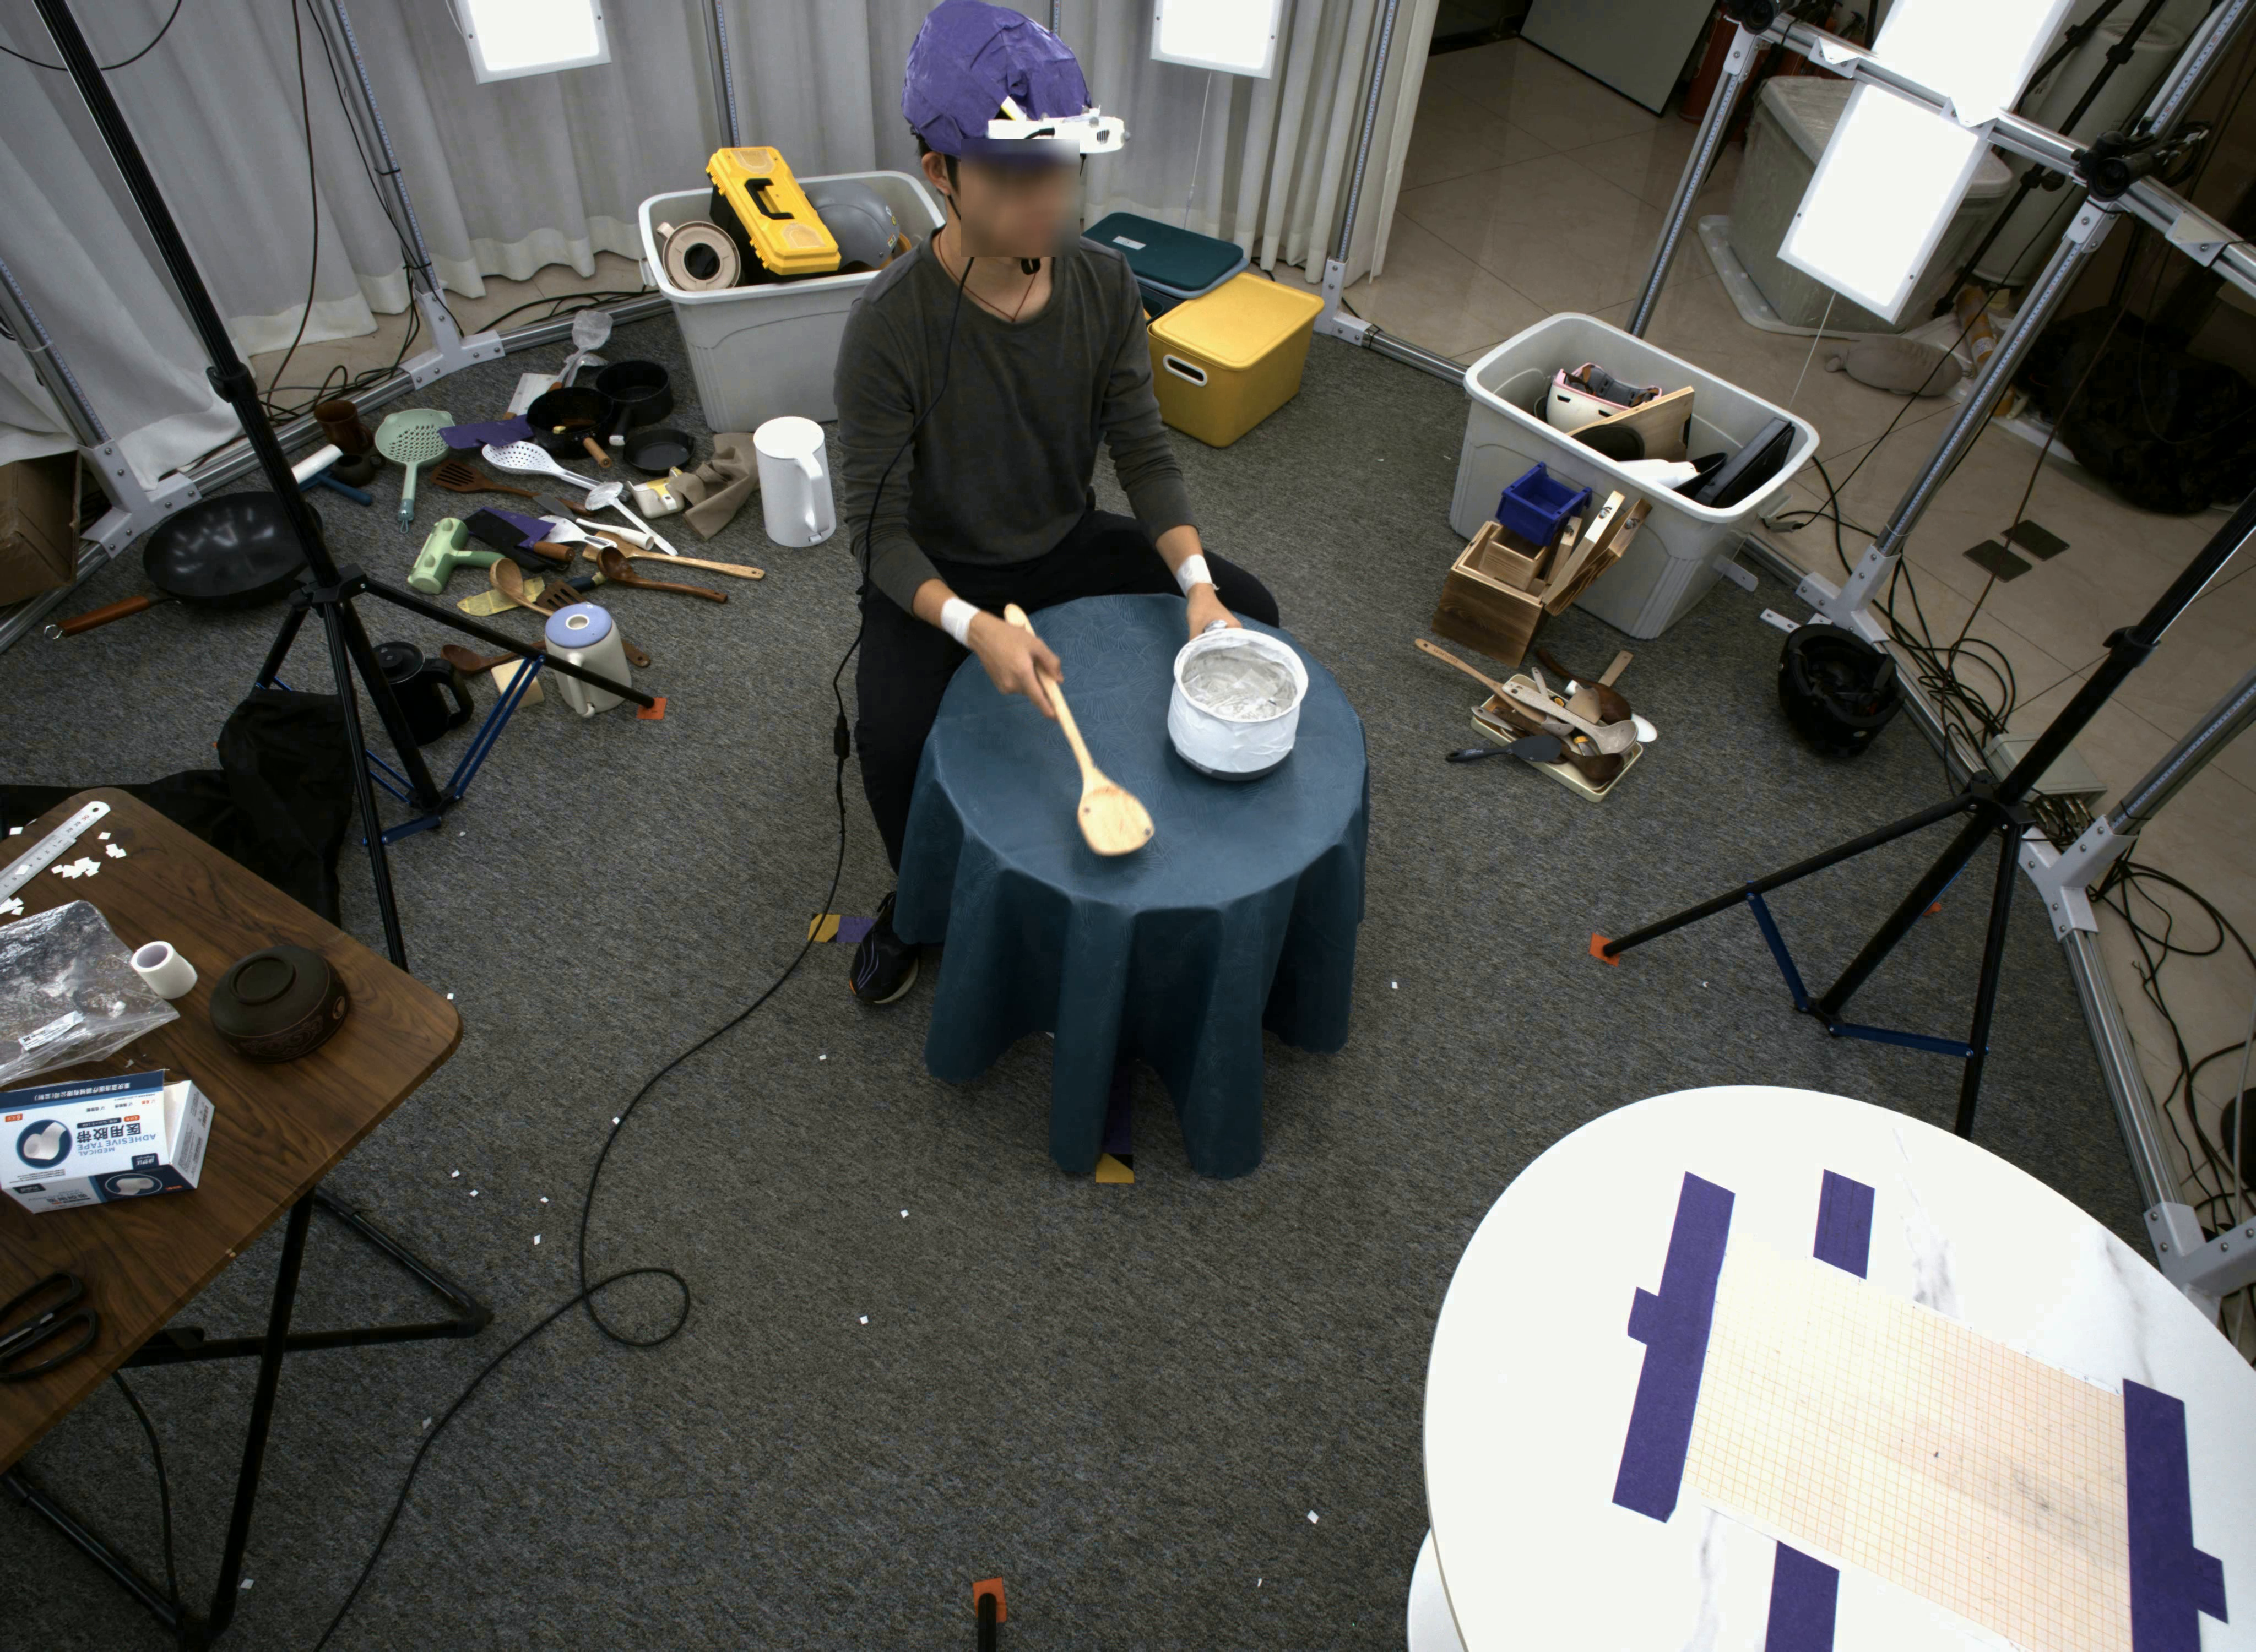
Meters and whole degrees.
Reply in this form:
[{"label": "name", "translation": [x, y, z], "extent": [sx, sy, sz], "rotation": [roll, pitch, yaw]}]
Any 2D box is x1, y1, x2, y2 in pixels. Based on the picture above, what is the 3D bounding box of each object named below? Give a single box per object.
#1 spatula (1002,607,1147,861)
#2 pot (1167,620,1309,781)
[{"label": "spatula", "translation": [-0.087, -0.126, 1.666], "extent": [0.096, 0.018, 0.397], "rotation": [-14, 68, -27]}, {"label": "pot", "translation": [0.137, -0.180, 1.744], "extent": [0.178, 0.133, 0.239], "rotation": [-8, 51, -12]}]
